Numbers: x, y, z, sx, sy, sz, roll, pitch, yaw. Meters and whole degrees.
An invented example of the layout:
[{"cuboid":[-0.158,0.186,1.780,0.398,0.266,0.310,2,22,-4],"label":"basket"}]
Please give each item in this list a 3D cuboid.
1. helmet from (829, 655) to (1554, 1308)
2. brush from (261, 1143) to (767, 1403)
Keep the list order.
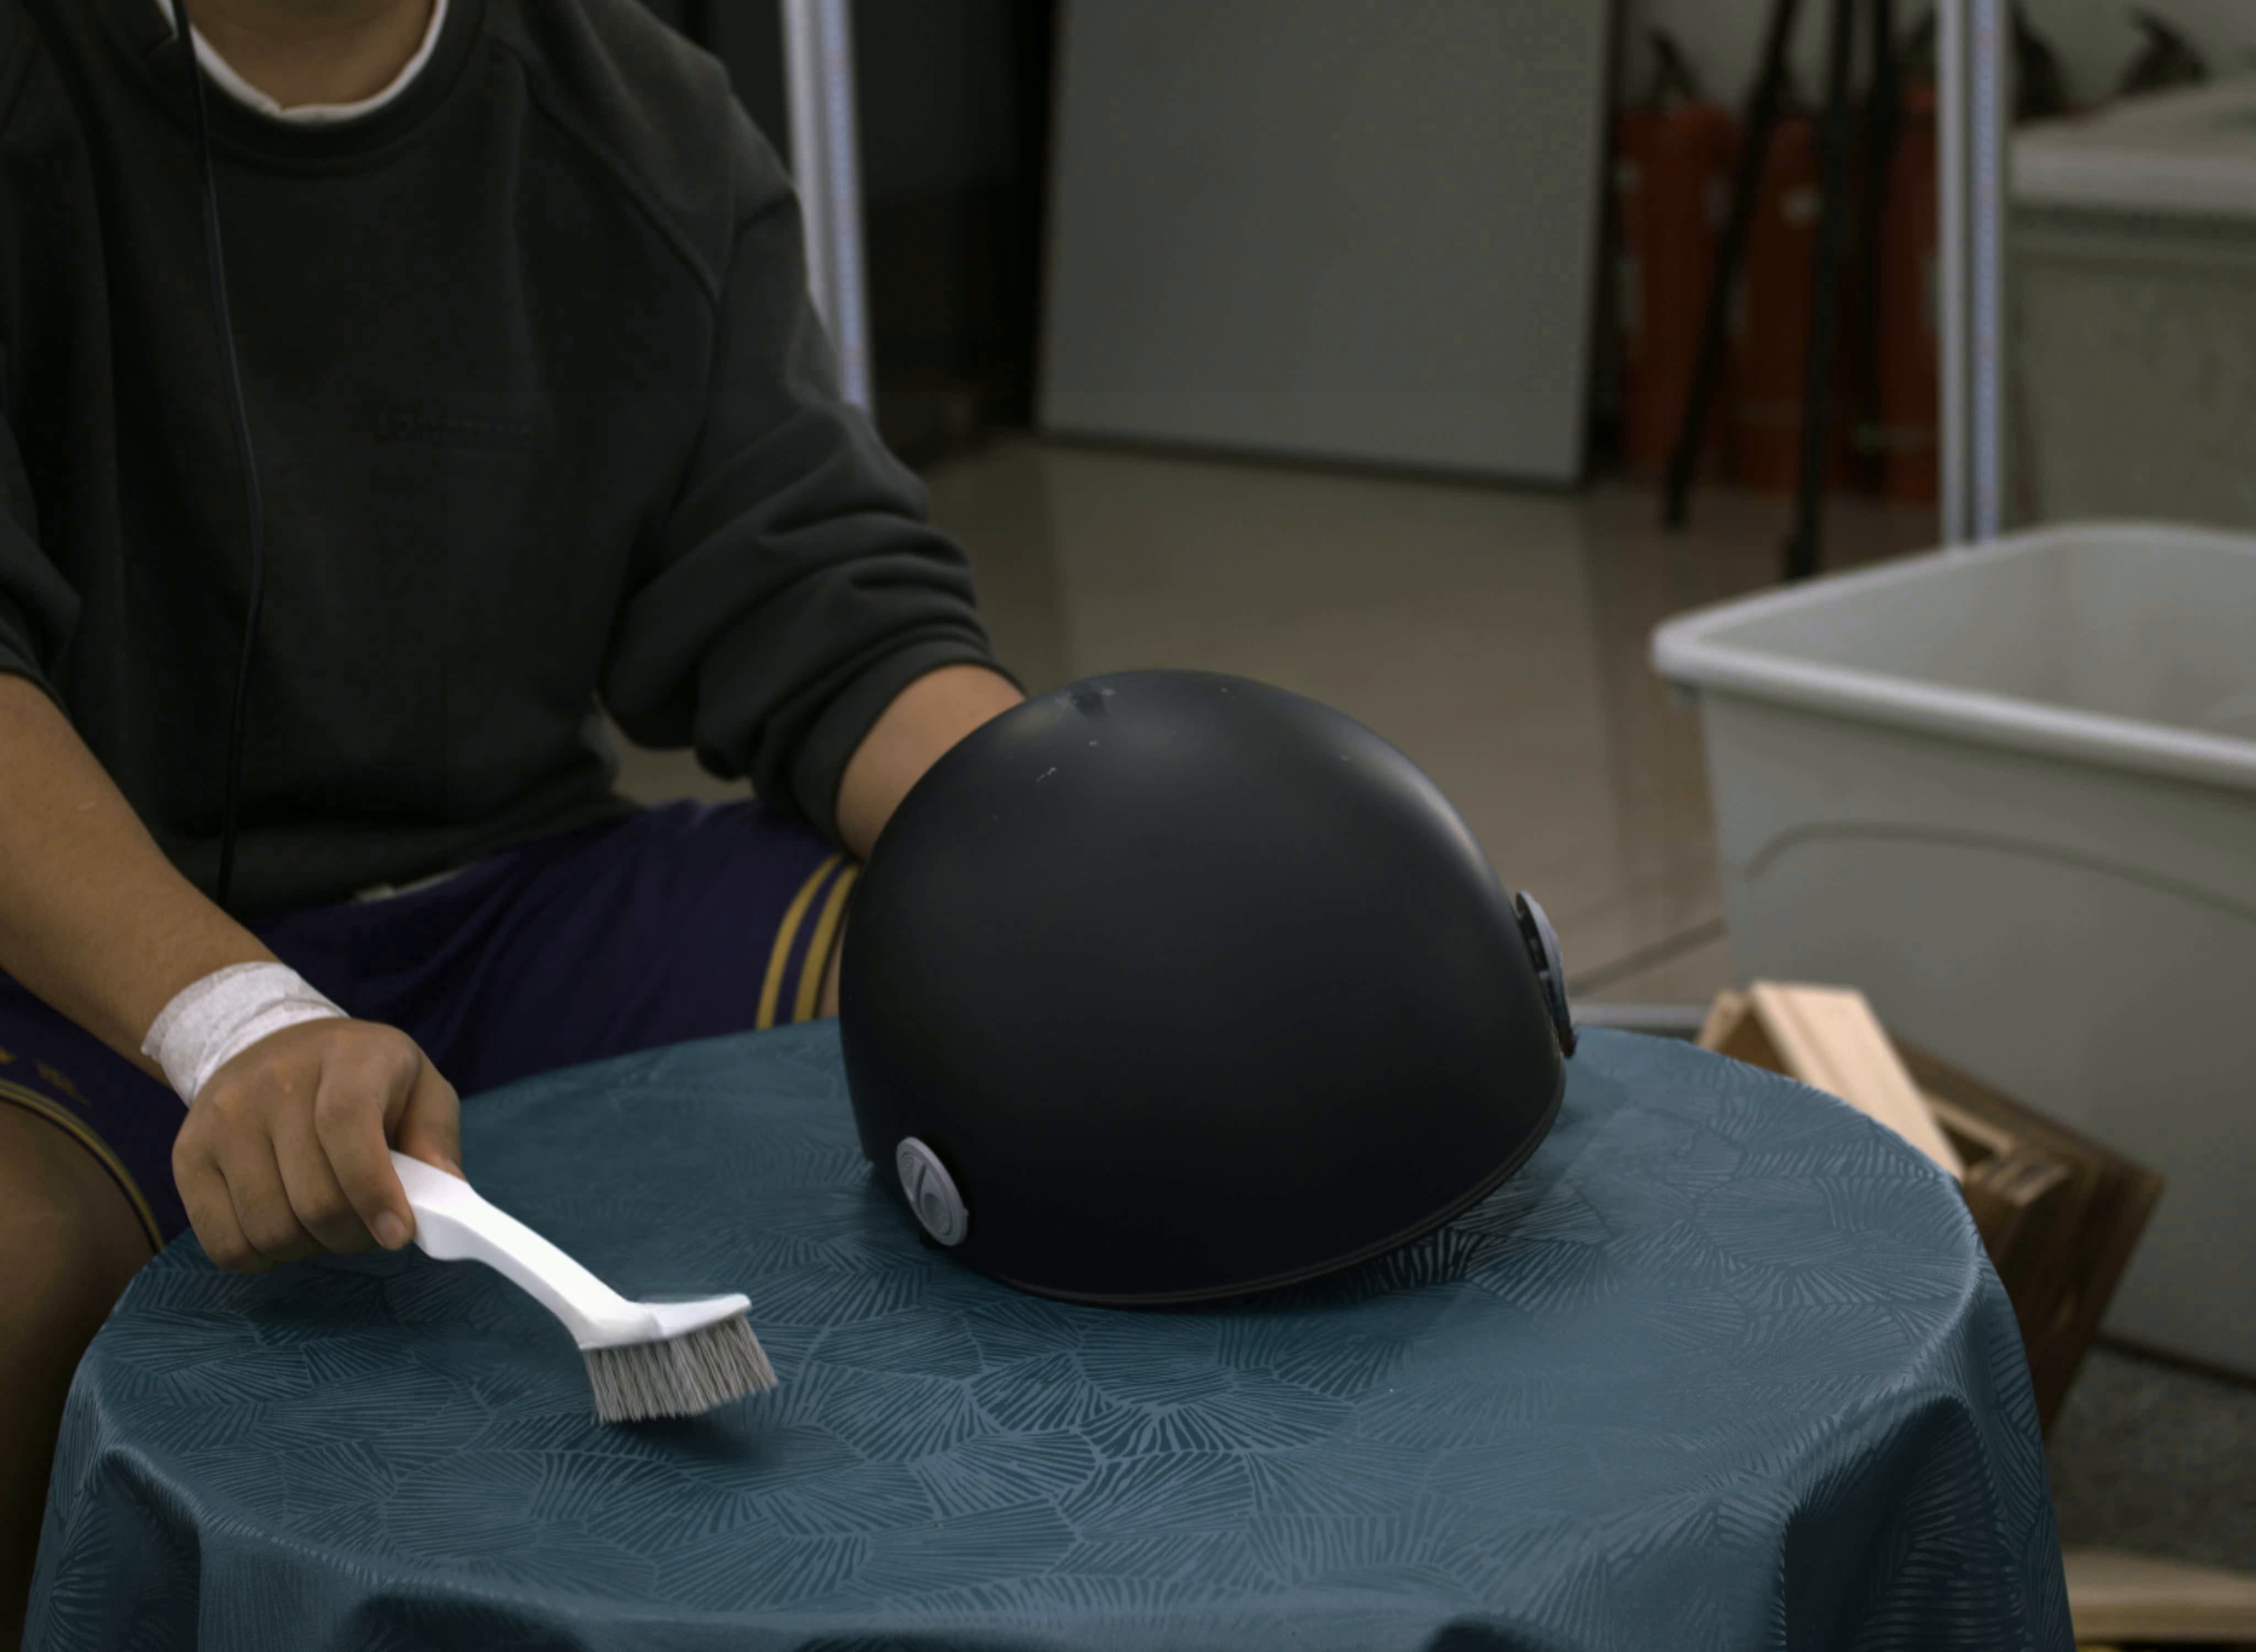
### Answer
[{"cuboid":[0.010,0.036,1.741,0.227,0.168,0.275,-22,19,-11],"label":"helmet"},{"cuboid":[-0.189,0.136,1.633,0.033,0.051,0.246,-18,17,-36],"label":"brush"}]
